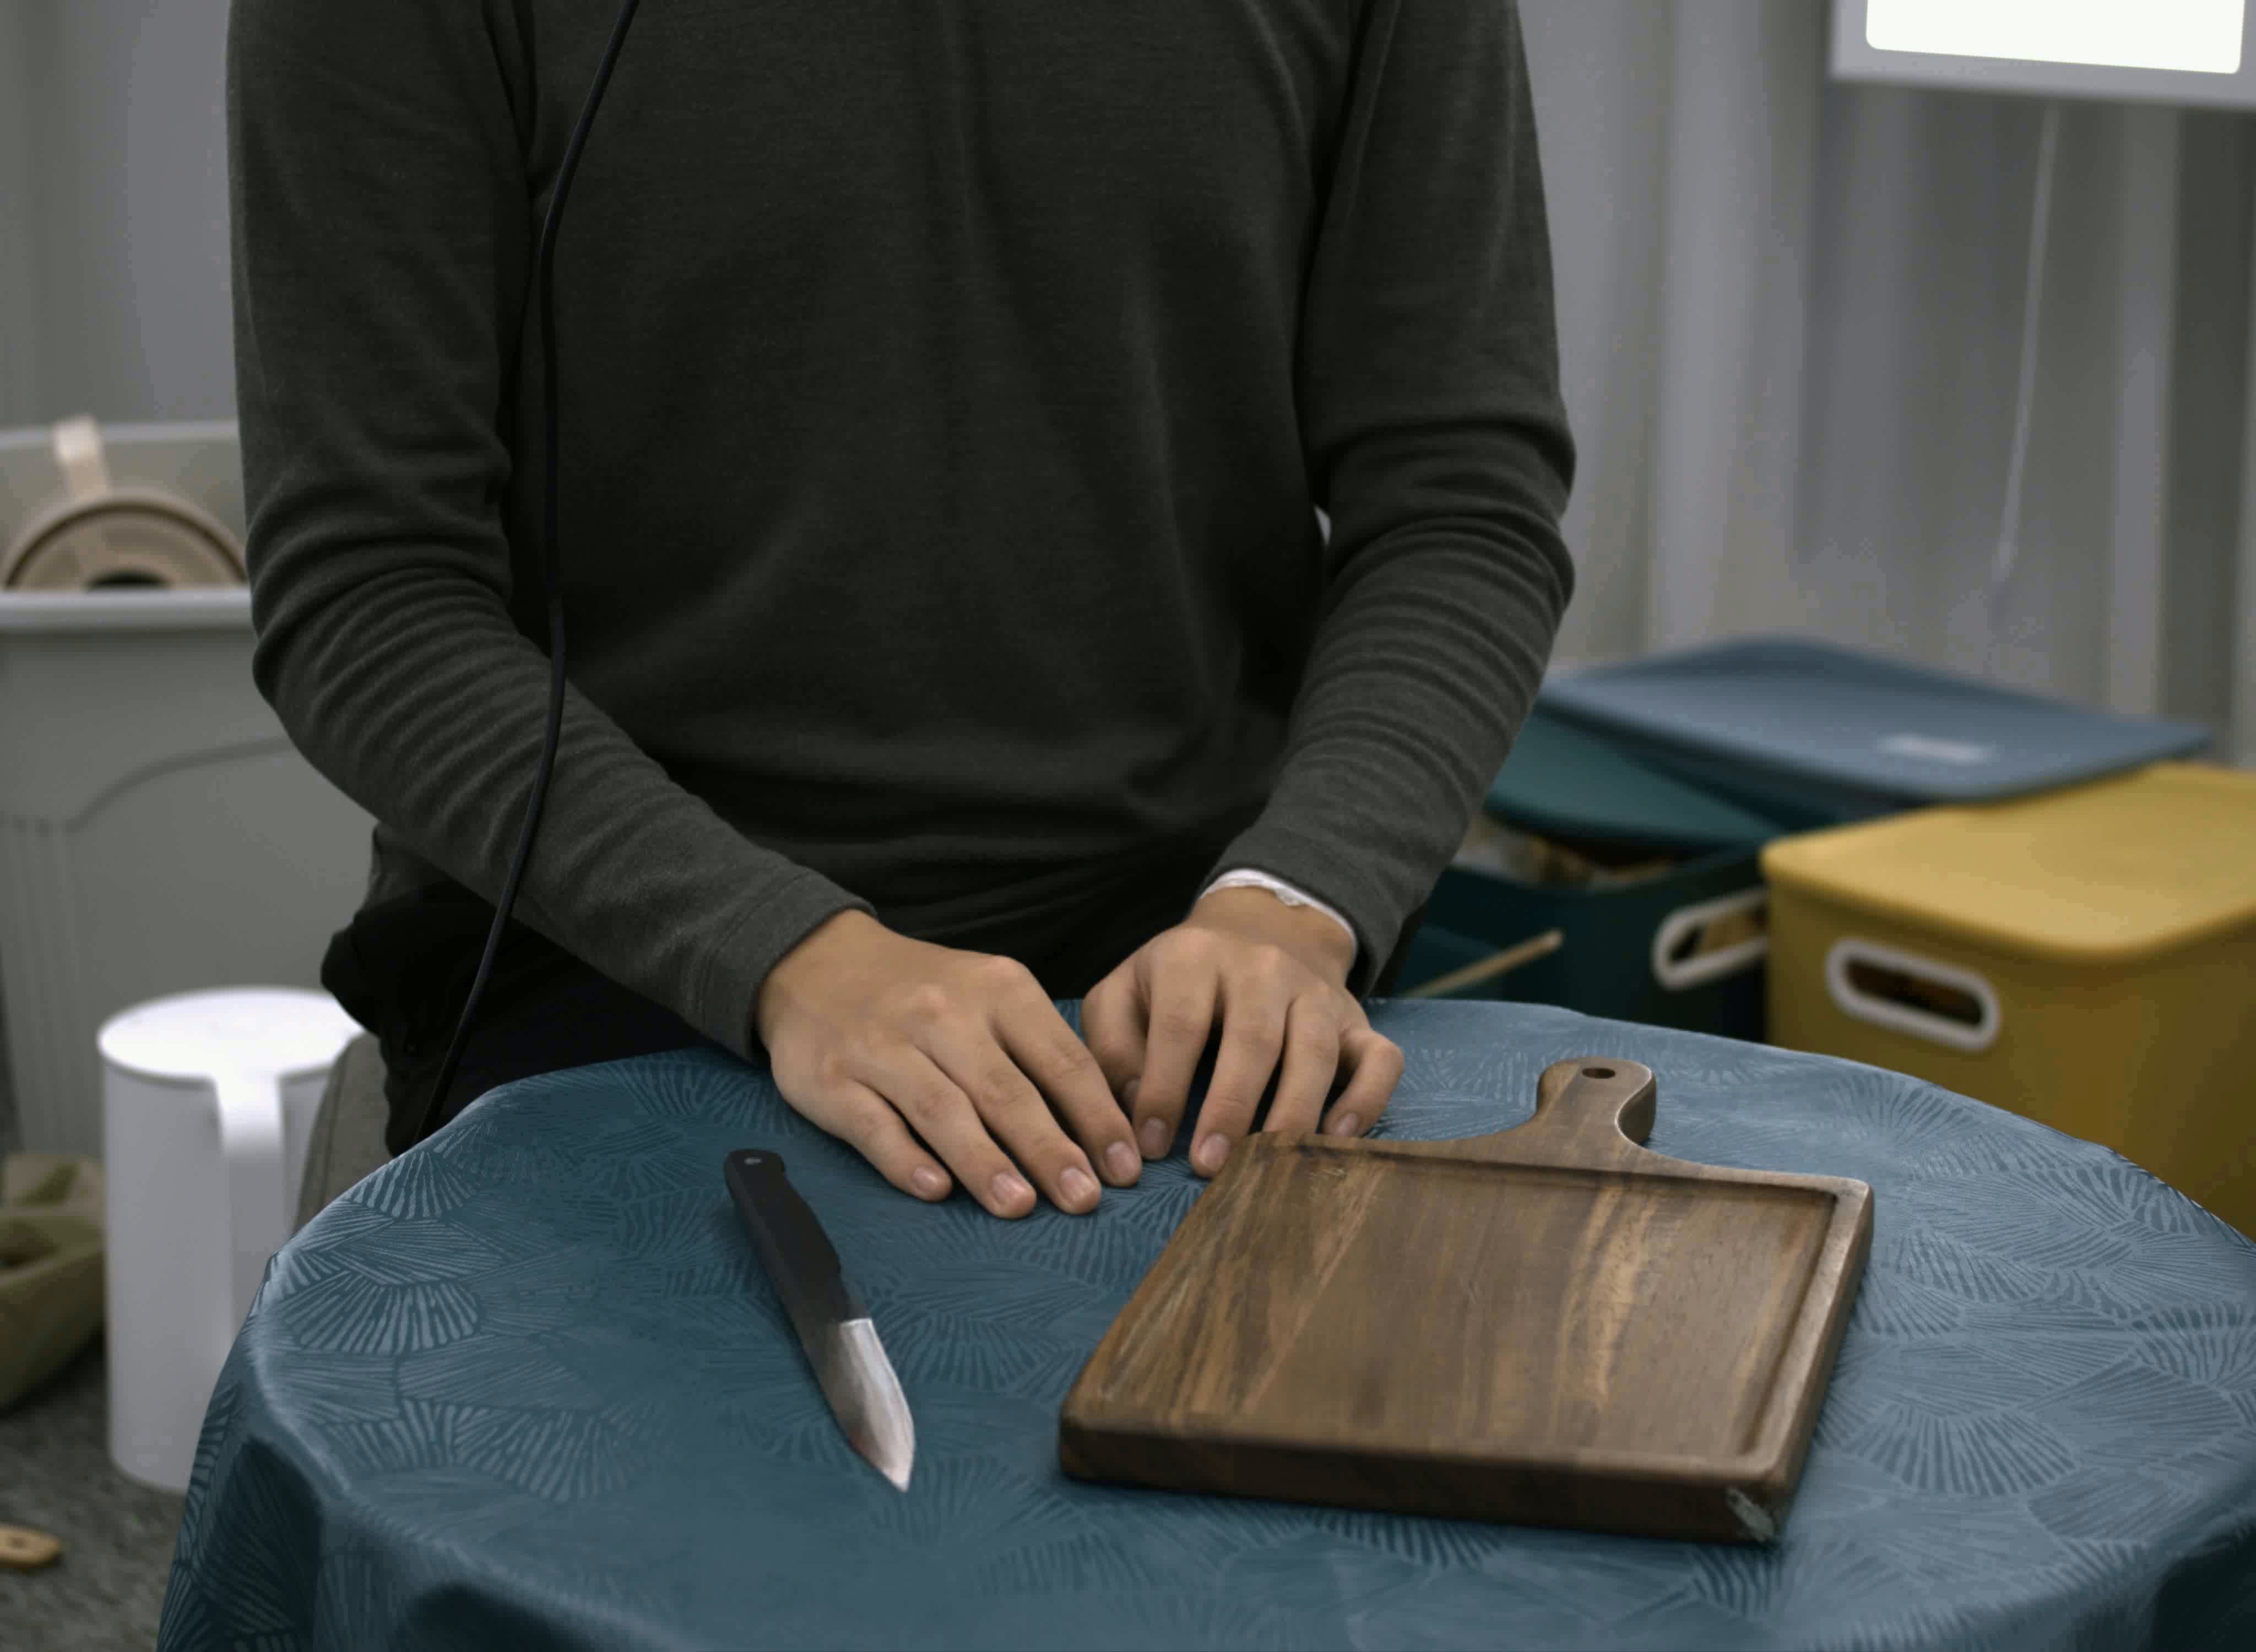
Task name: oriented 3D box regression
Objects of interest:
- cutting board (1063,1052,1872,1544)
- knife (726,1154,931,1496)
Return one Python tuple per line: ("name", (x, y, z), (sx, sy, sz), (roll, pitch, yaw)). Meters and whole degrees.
("cutting board", (0.114, 0.127, 1.538), (0.199, 0.023, 0.352), (4, 16, 12))
("knife", (-0.087, 0.141, 1.497), (0.024, 0.016, 0.235), (-5, 19, -14))
